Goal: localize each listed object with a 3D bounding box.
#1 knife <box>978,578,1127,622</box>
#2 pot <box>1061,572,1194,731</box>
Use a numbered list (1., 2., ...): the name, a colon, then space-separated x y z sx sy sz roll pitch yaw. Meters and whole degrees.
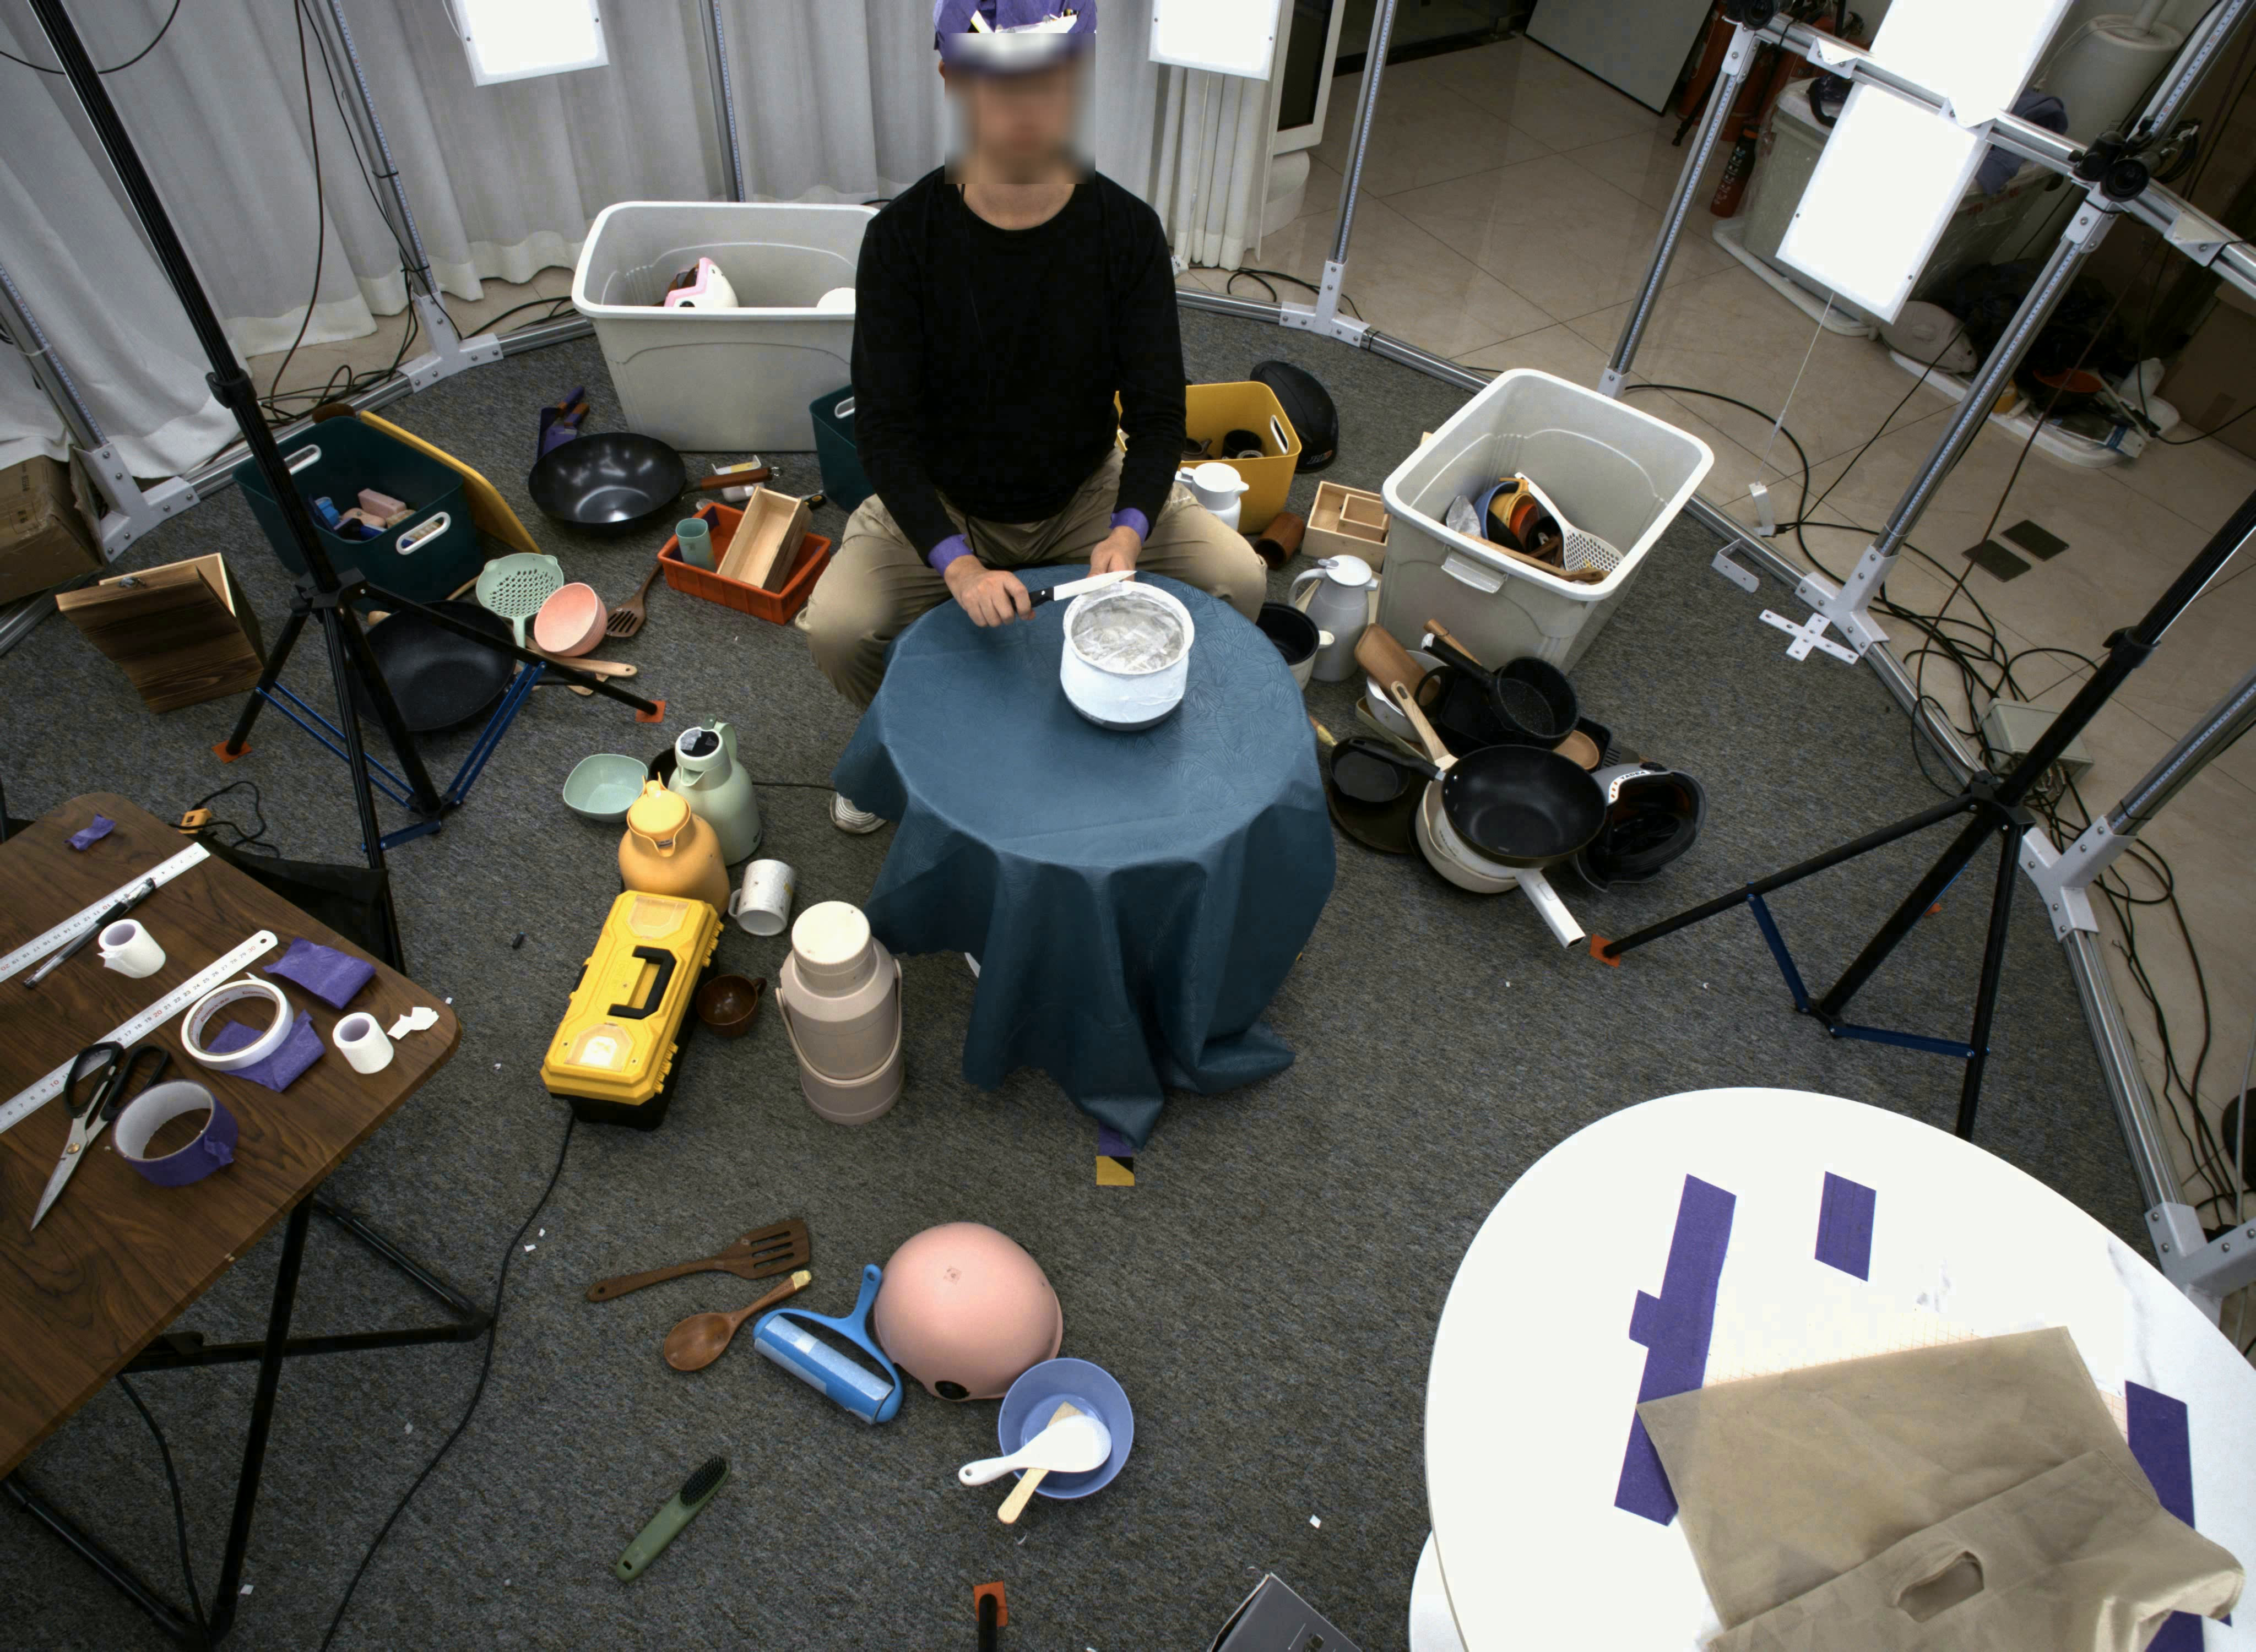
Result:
1. knife: -0.106 -0.317 1.780 0.238 0.016 0.025 -9 70 27
2. pot: -0.011 -0.254 1.793 0.178 0.133 0.239 -10 54 -13
